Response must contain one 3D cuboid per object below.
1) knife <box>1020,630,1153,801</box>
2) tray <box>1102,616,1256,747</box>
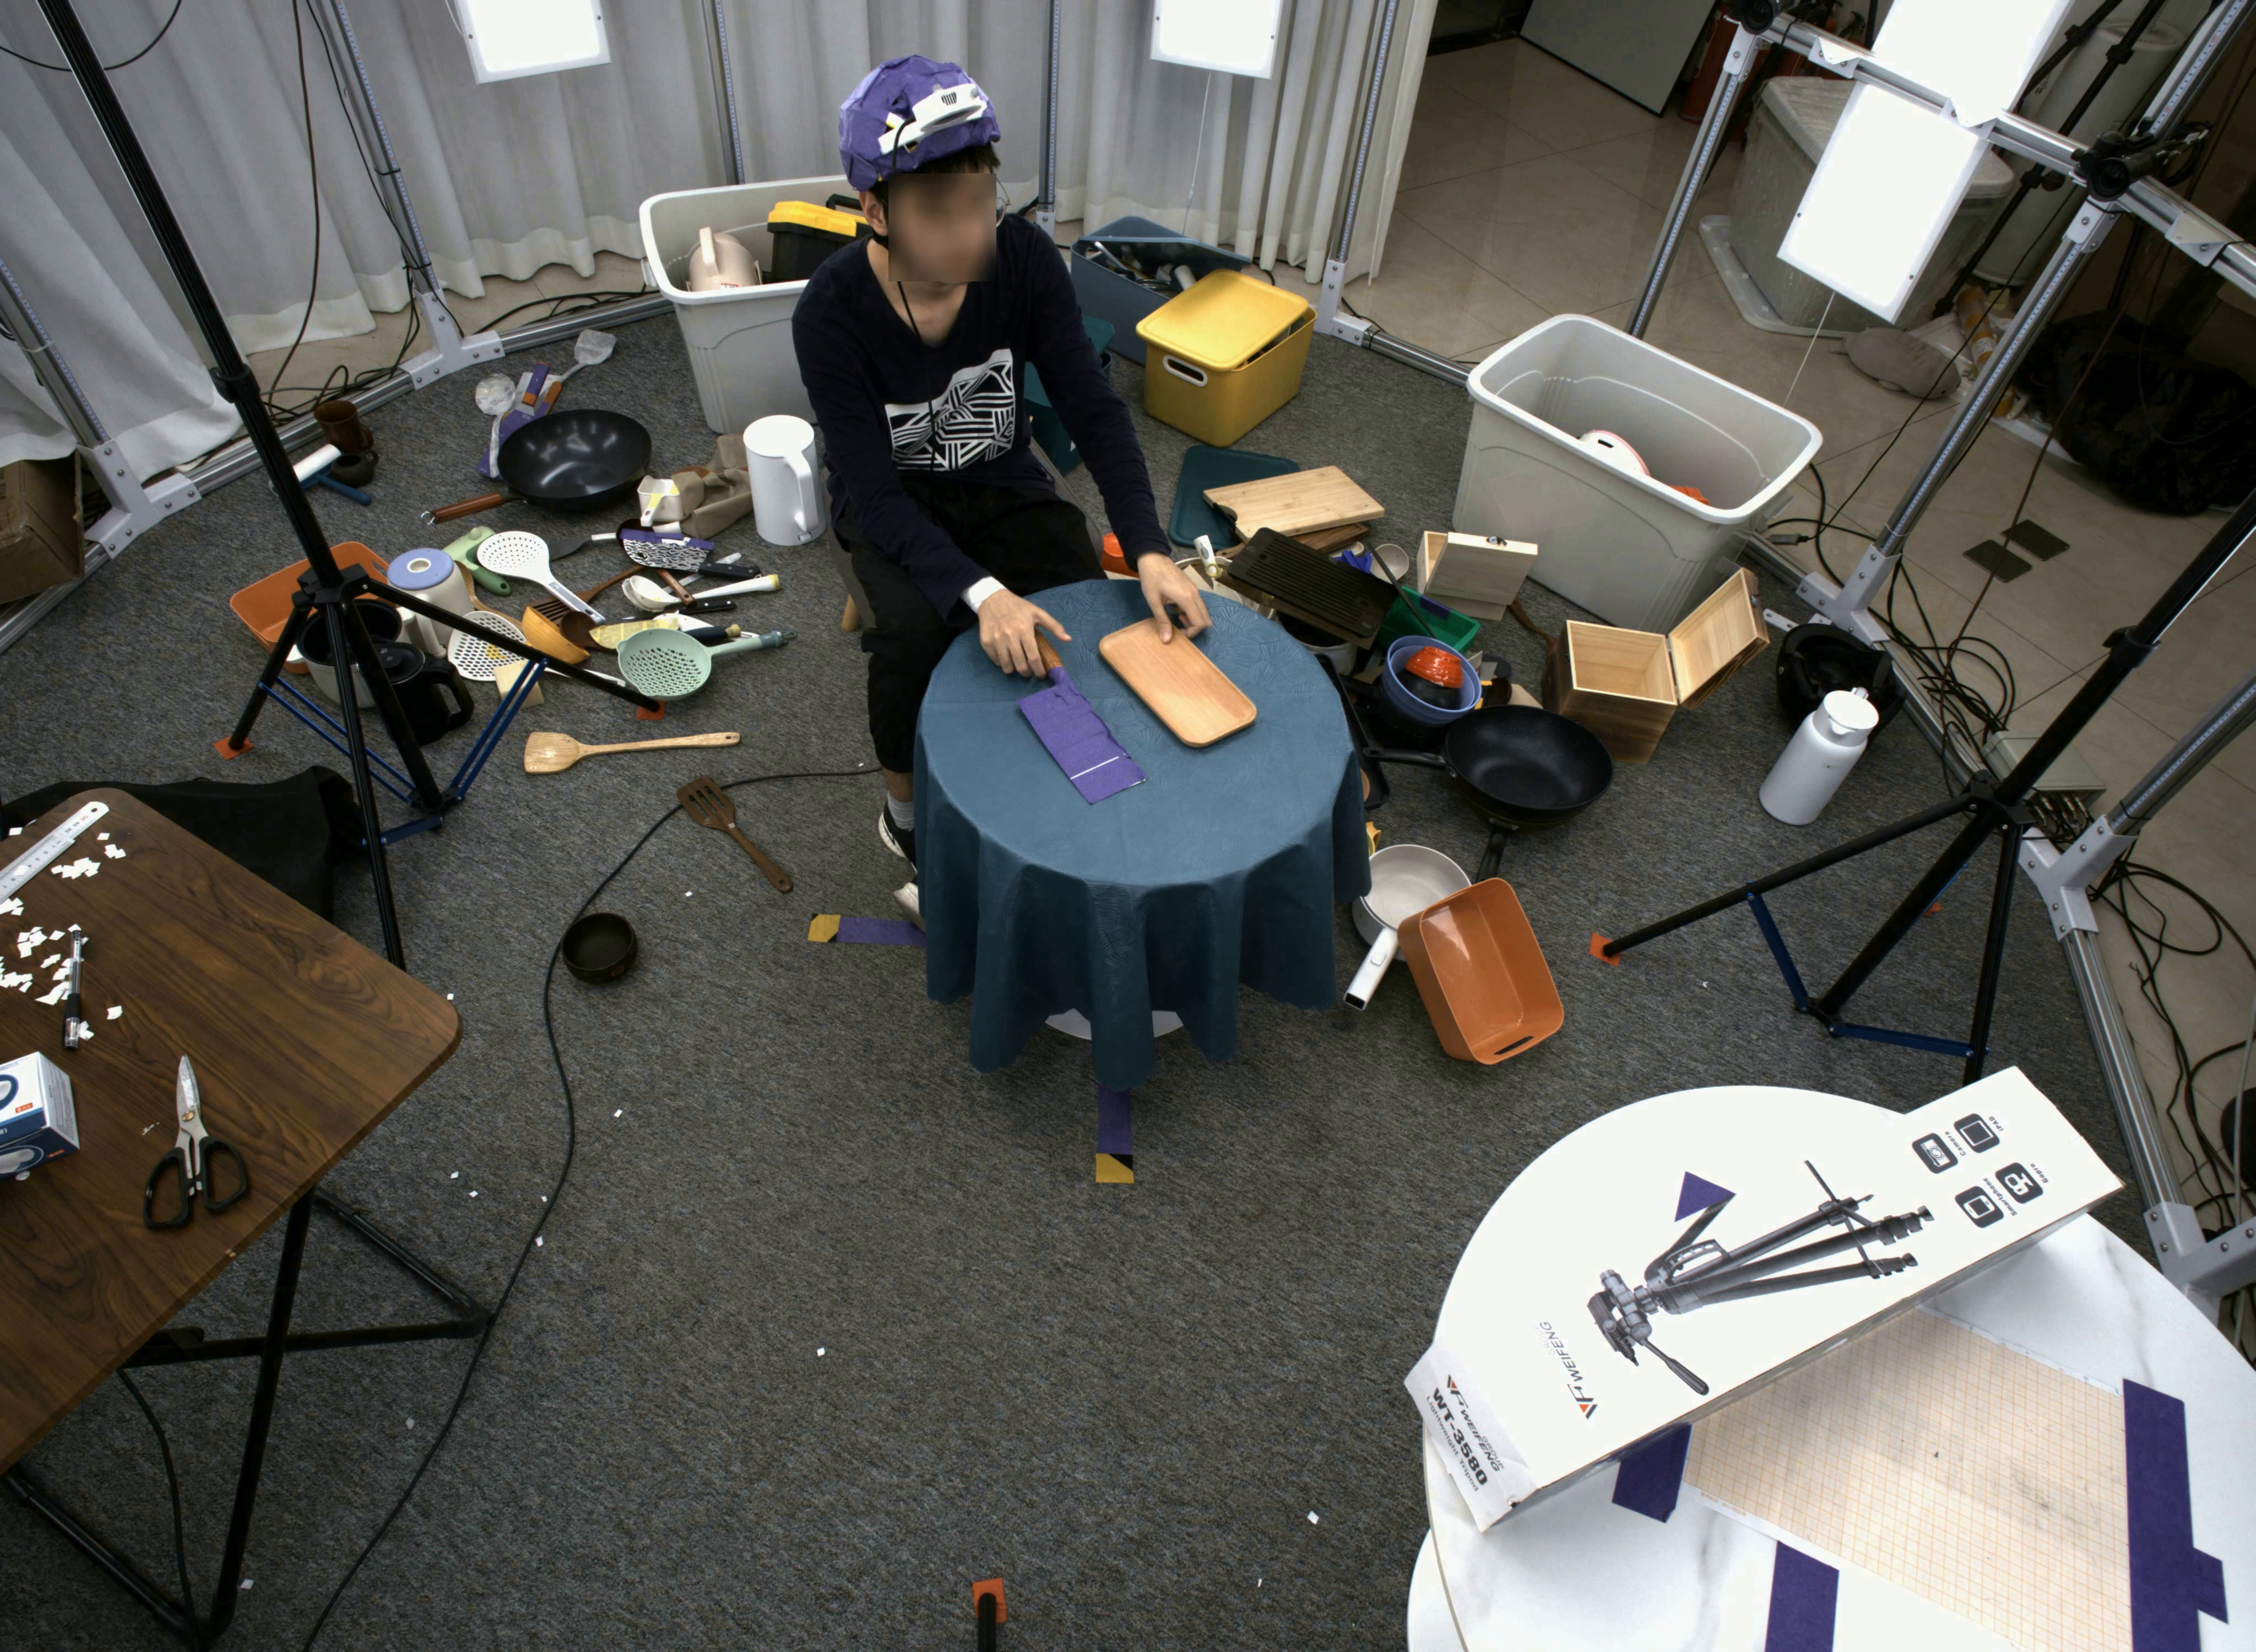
[{"bbox_3d":[-0.089,-0.158,1.781,0.104,0.031,0.322,-23,55,-22],"label":"knife"},{"bbox_3d":[0.071,-0.211,1.844,0.131,0.022,0.256,-22,53,-24],"label":"tray"}]
